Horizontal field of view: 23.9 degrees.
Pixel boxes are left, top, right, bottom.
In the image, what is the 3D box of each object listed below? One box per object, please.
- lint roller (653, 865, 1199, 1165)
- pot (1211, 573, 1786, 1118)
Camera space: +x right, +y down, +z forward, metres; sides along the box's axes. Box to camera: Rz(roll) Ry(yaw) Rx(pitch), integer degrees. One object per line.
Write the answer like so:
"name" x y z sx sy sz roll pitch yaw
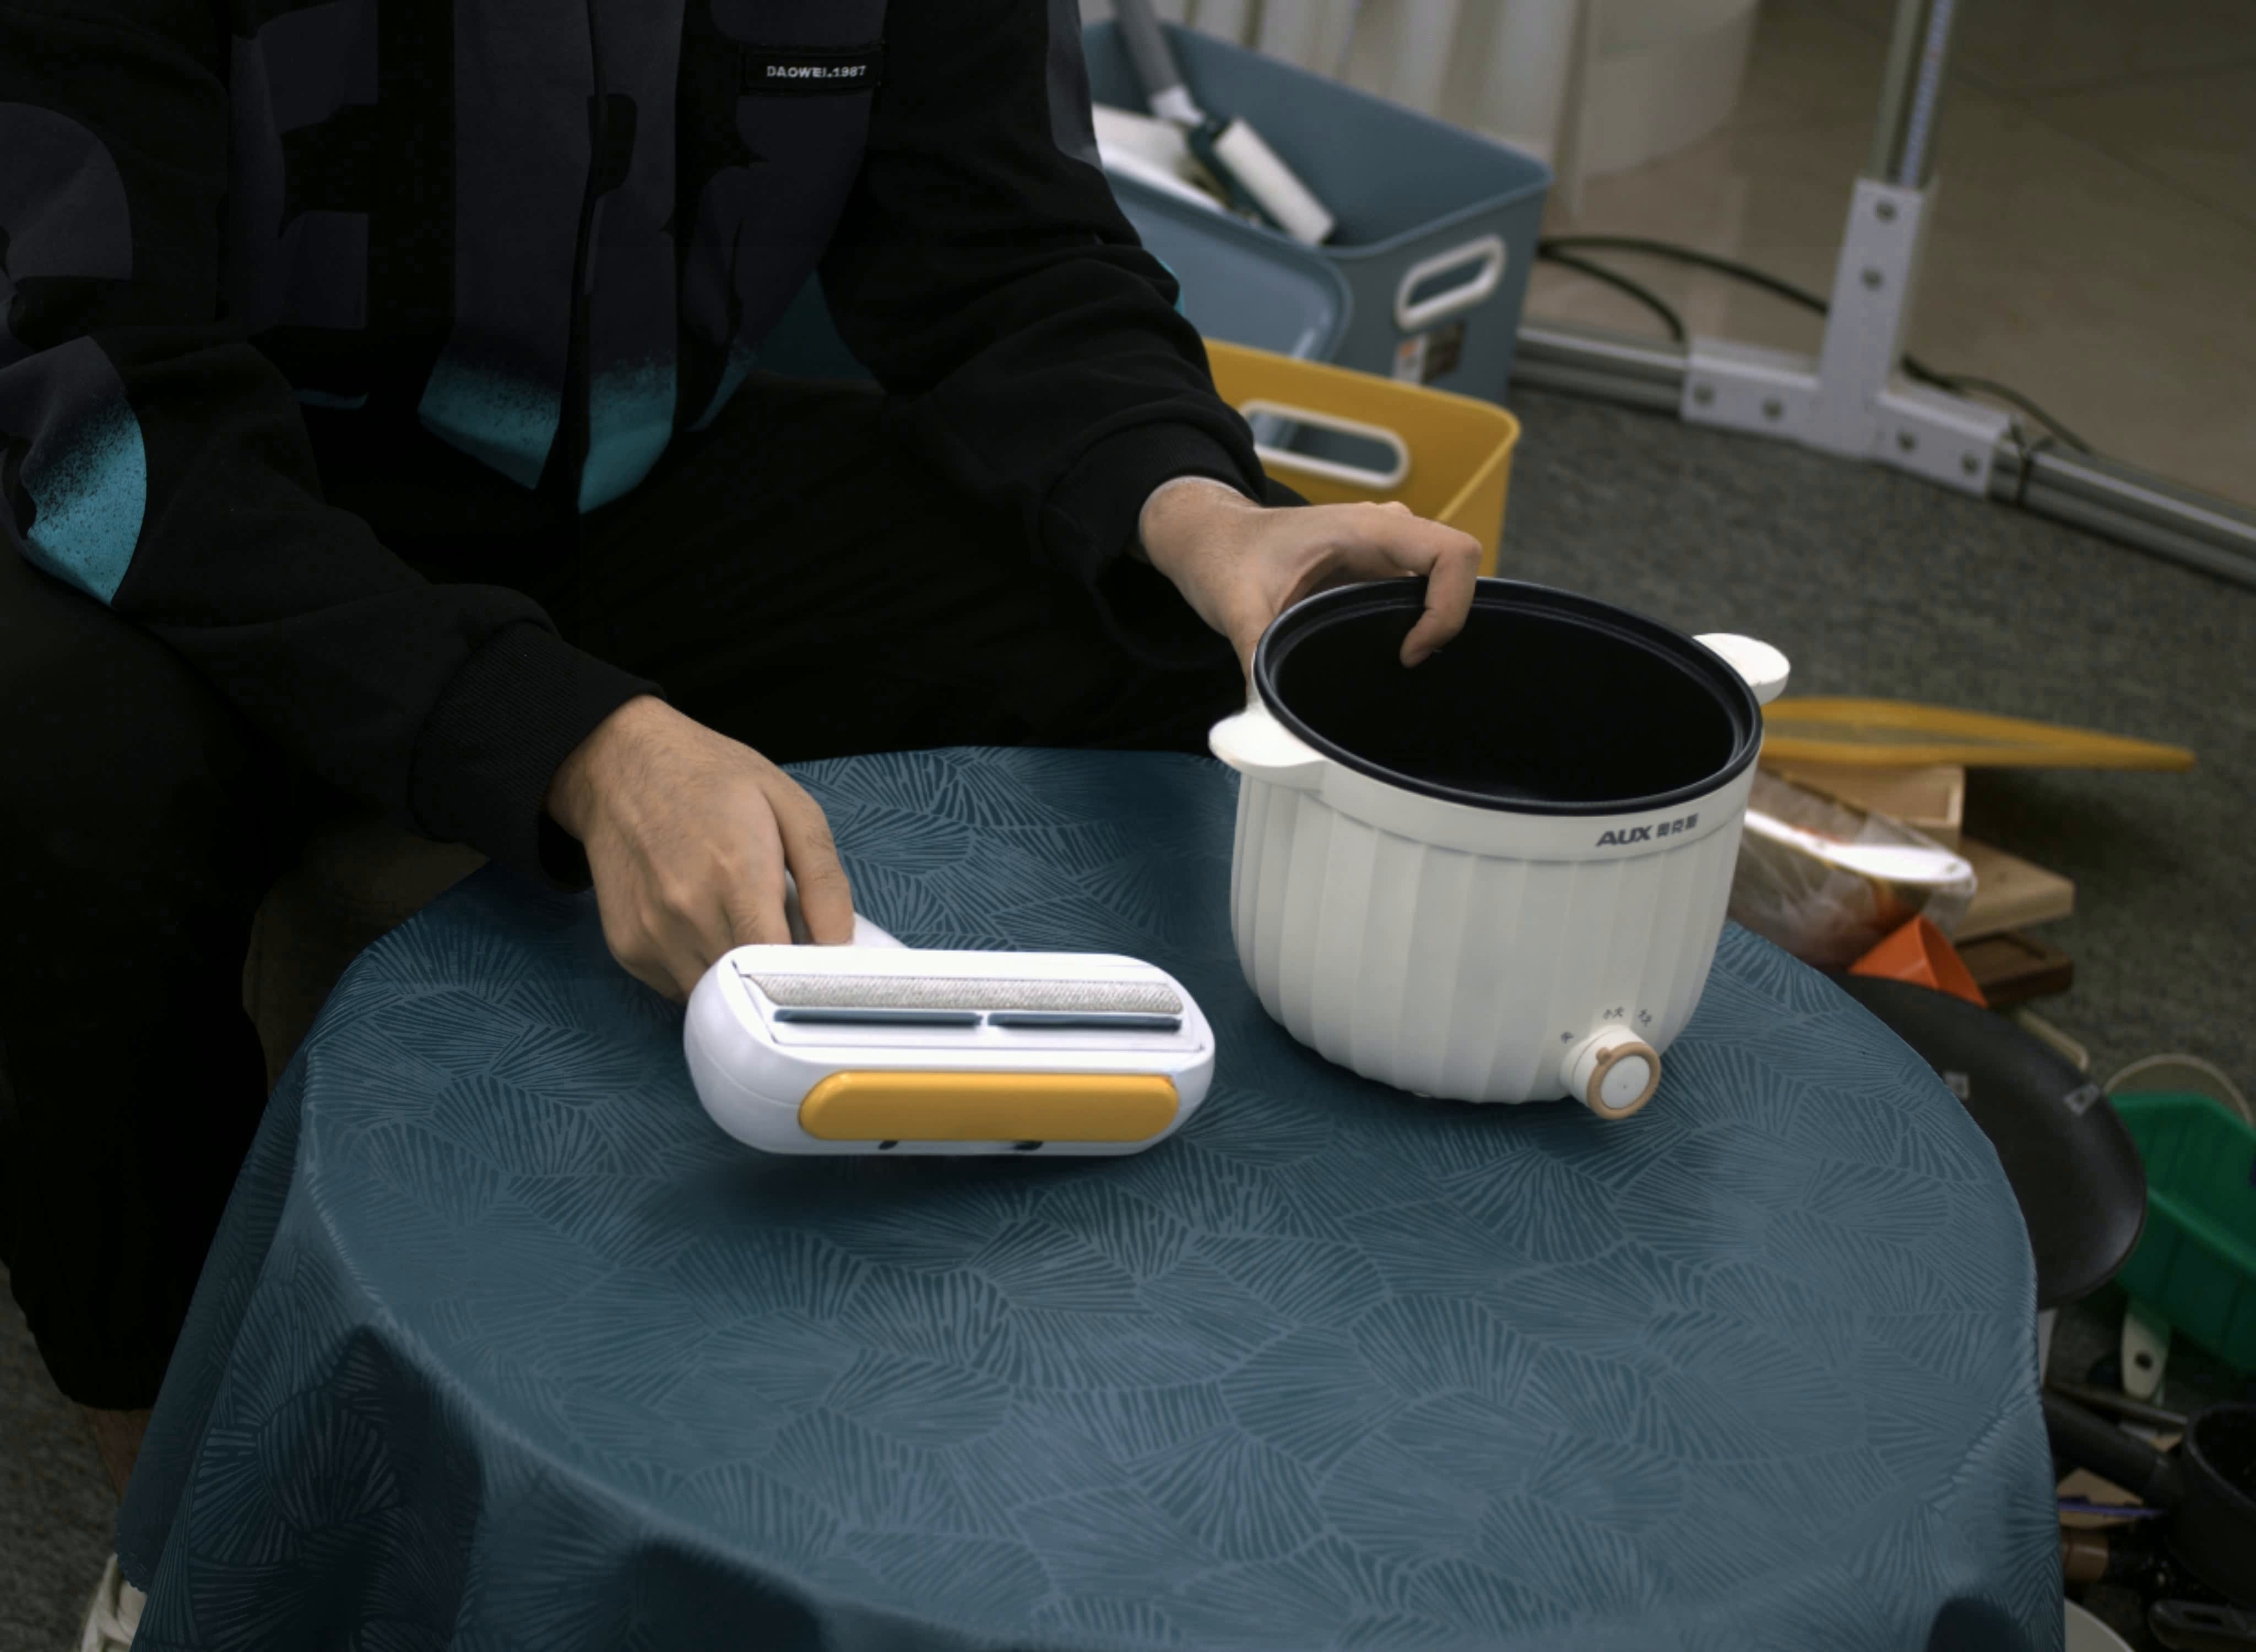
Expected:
"lint roller" -0.091 0.053 1.833 0.191 0.074 0.194 0 30 -27
"pot" 0.130 0.011 1.894 0.239 0.142 0.192 -11 29 -29
